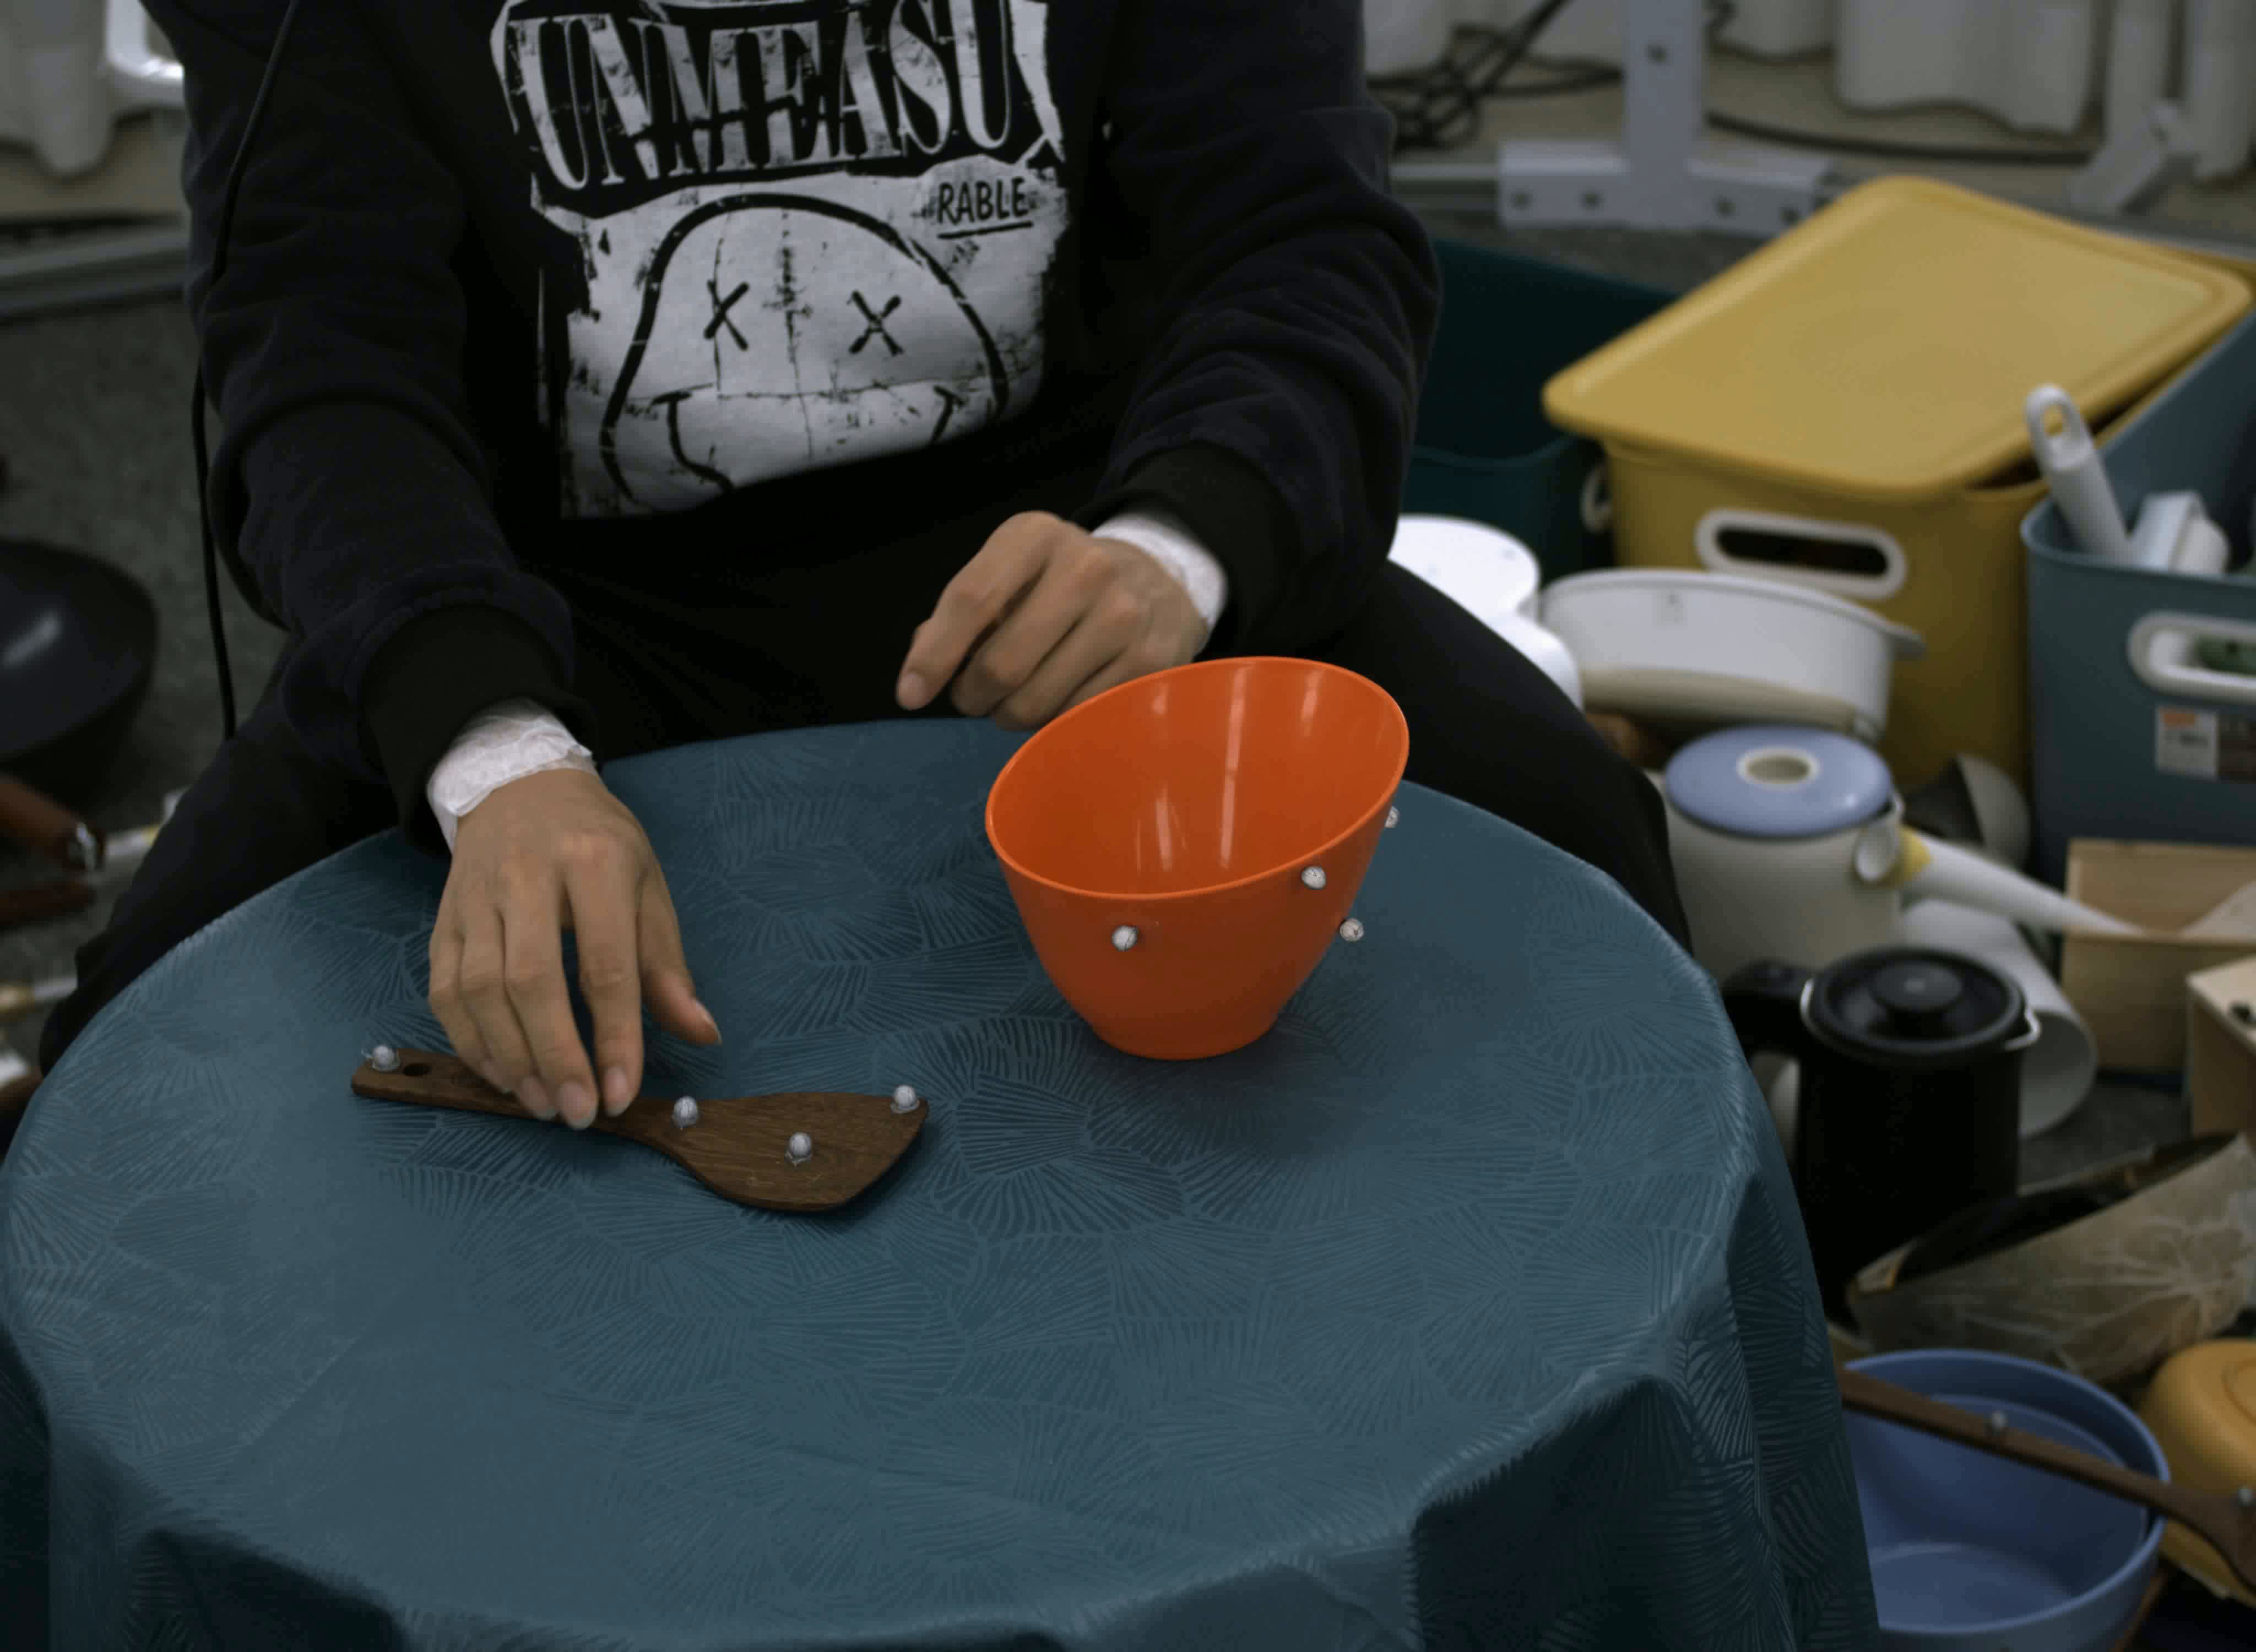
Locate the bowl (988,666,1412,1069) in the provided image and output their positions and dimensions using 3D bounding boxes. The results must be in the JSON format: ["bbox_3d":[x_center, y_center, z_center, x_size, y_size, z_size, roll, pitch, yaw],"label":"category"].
[{"bbox_3d":[0.027,0.020,1.947,0.147,0.103,0.150,-2,27,1],"label":"bowl"}]

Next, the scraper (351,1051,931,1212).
[{"bbox_3d":[-0.170,0.100,1.913,0.210,0.011,0.077,9,28,23],"label":"scraper"}]
